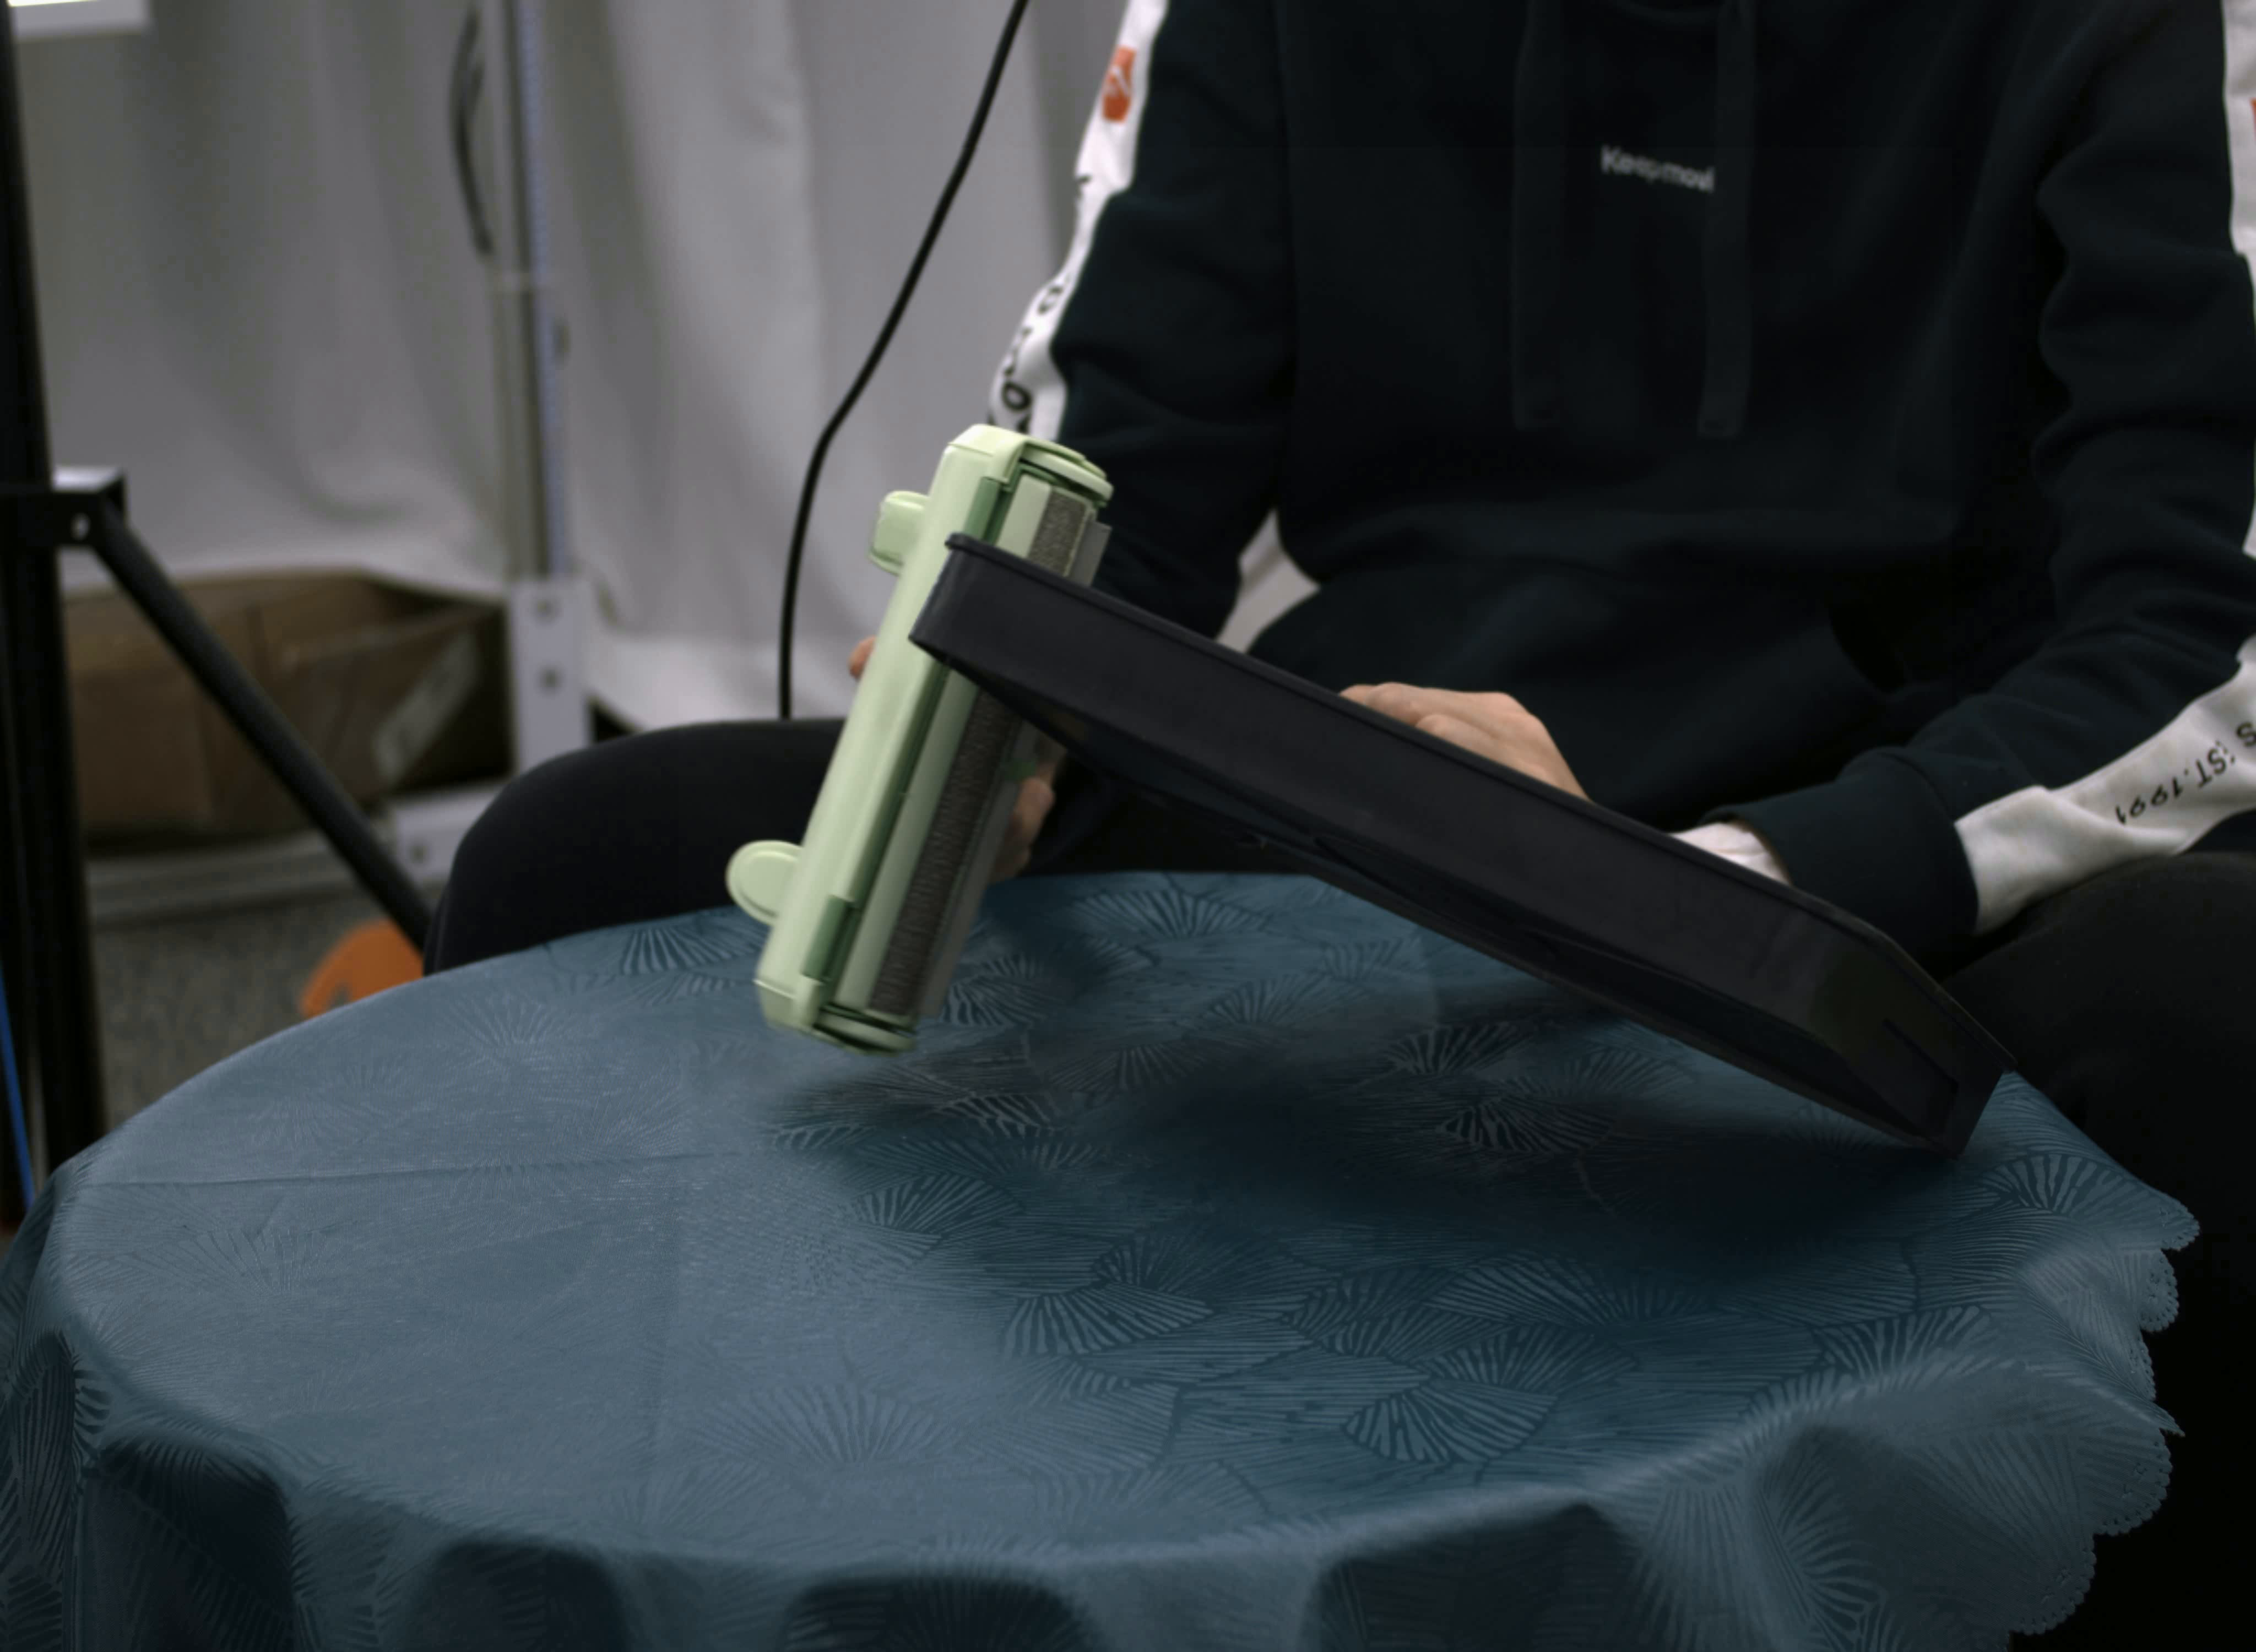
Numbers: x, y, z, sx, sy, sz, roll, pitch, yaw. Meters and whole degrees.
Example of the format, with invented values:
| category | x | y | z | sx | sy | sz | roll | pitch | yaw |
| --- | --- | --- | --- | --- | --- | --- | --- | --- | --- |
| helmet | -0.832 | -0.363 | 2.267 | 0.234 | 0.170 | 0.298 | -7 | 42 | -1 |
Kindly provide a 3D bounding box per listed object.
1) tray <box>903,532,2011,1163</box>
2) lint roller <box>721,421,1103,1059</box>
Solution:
| category | x | y | z | sx | sy | sz | roll | pitch | yaw |
| --- | --- | --- | --- | --- | --- | --- | --- | --- | --- |
| tray | 0.095 | 0.007 | 1.549 | 0.324 | 0.037 | 0.180 | 24 | -5 | 29 |
| lint roller | -0.071 | -0.028 | 1.701 | 0.082 | 0.199 | 0.183 | 20 | -1 | -2 |
